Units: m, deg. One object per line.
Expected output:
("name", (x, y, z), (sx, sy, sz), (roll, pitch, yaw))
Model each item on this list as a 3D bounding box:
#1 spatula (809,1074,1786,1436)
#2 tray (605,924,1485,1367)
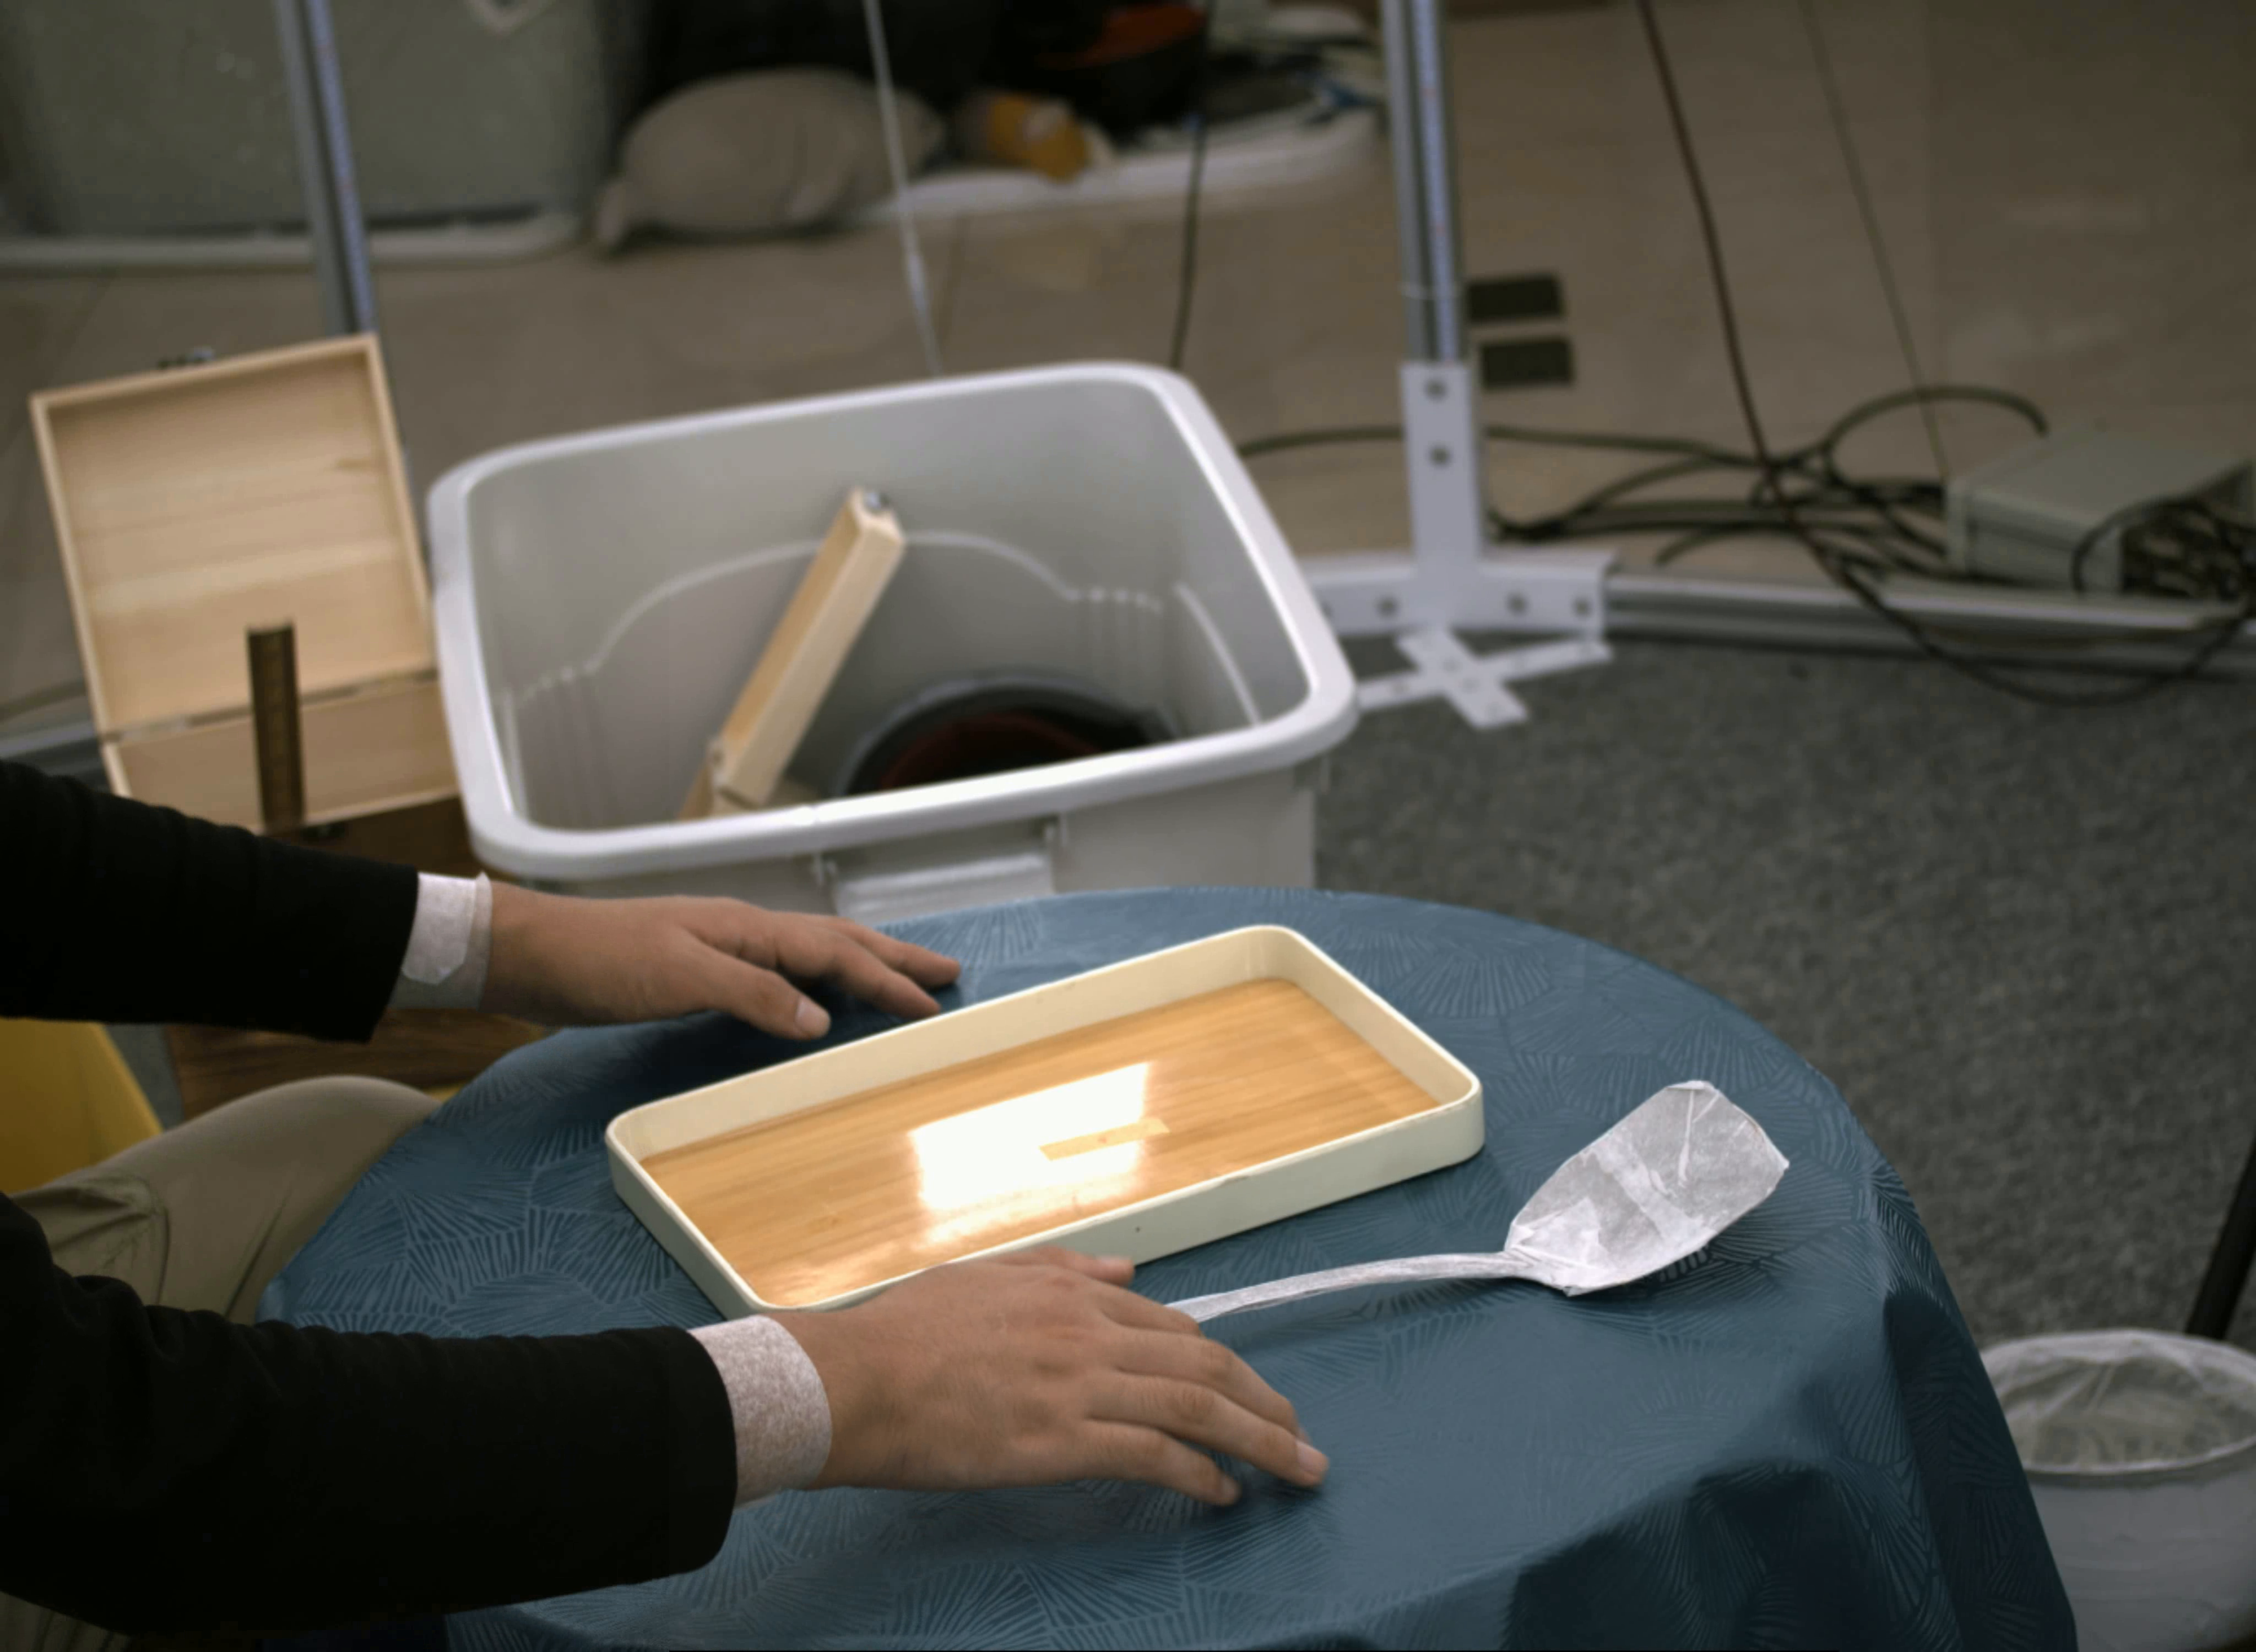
("spatula", (0.061, 0.162, 2.038), (0.364, 0.045, 0.097), (-12, 26, -12))
("tray", (-0.033, 0.118, 2.168), (0.299, 0.028, 0.189), (-16, 27, -19))
